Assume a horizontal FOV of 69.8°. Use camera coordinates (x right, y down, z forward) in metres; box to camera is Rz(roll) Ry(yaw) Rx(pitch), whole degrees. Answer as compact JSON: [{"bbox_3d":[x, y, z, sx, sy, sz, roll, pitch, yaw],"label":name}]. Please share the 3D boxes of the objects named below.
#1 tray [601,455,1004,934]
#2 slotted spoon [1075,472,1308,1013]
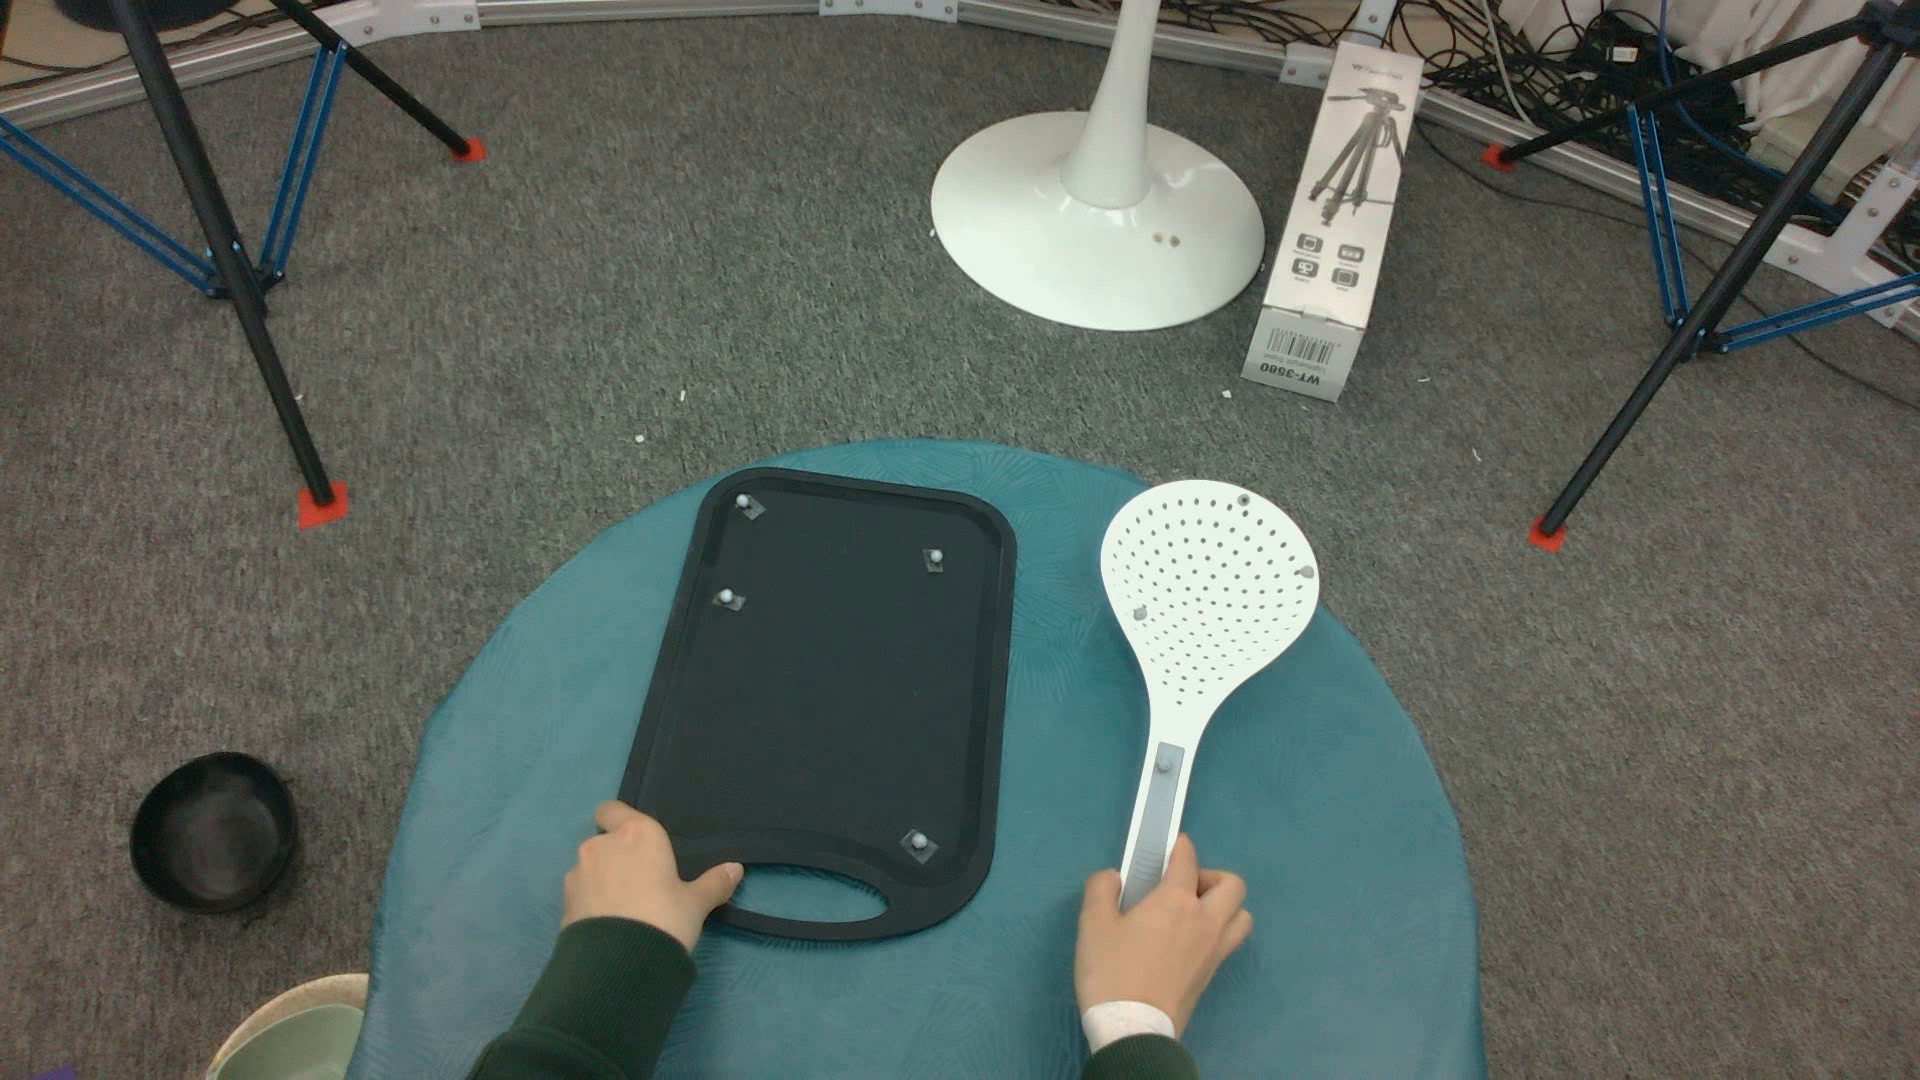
[{"bbox_3d":[-0.084,0.077,0.821,0.211,0.010,0.327,8,51,-2],"label":"tray"},{"bbox_3d":[0.120,0.103,0.807,0.136,0.045,0.351,14,52,7],"label":"slotted spoon"}]
